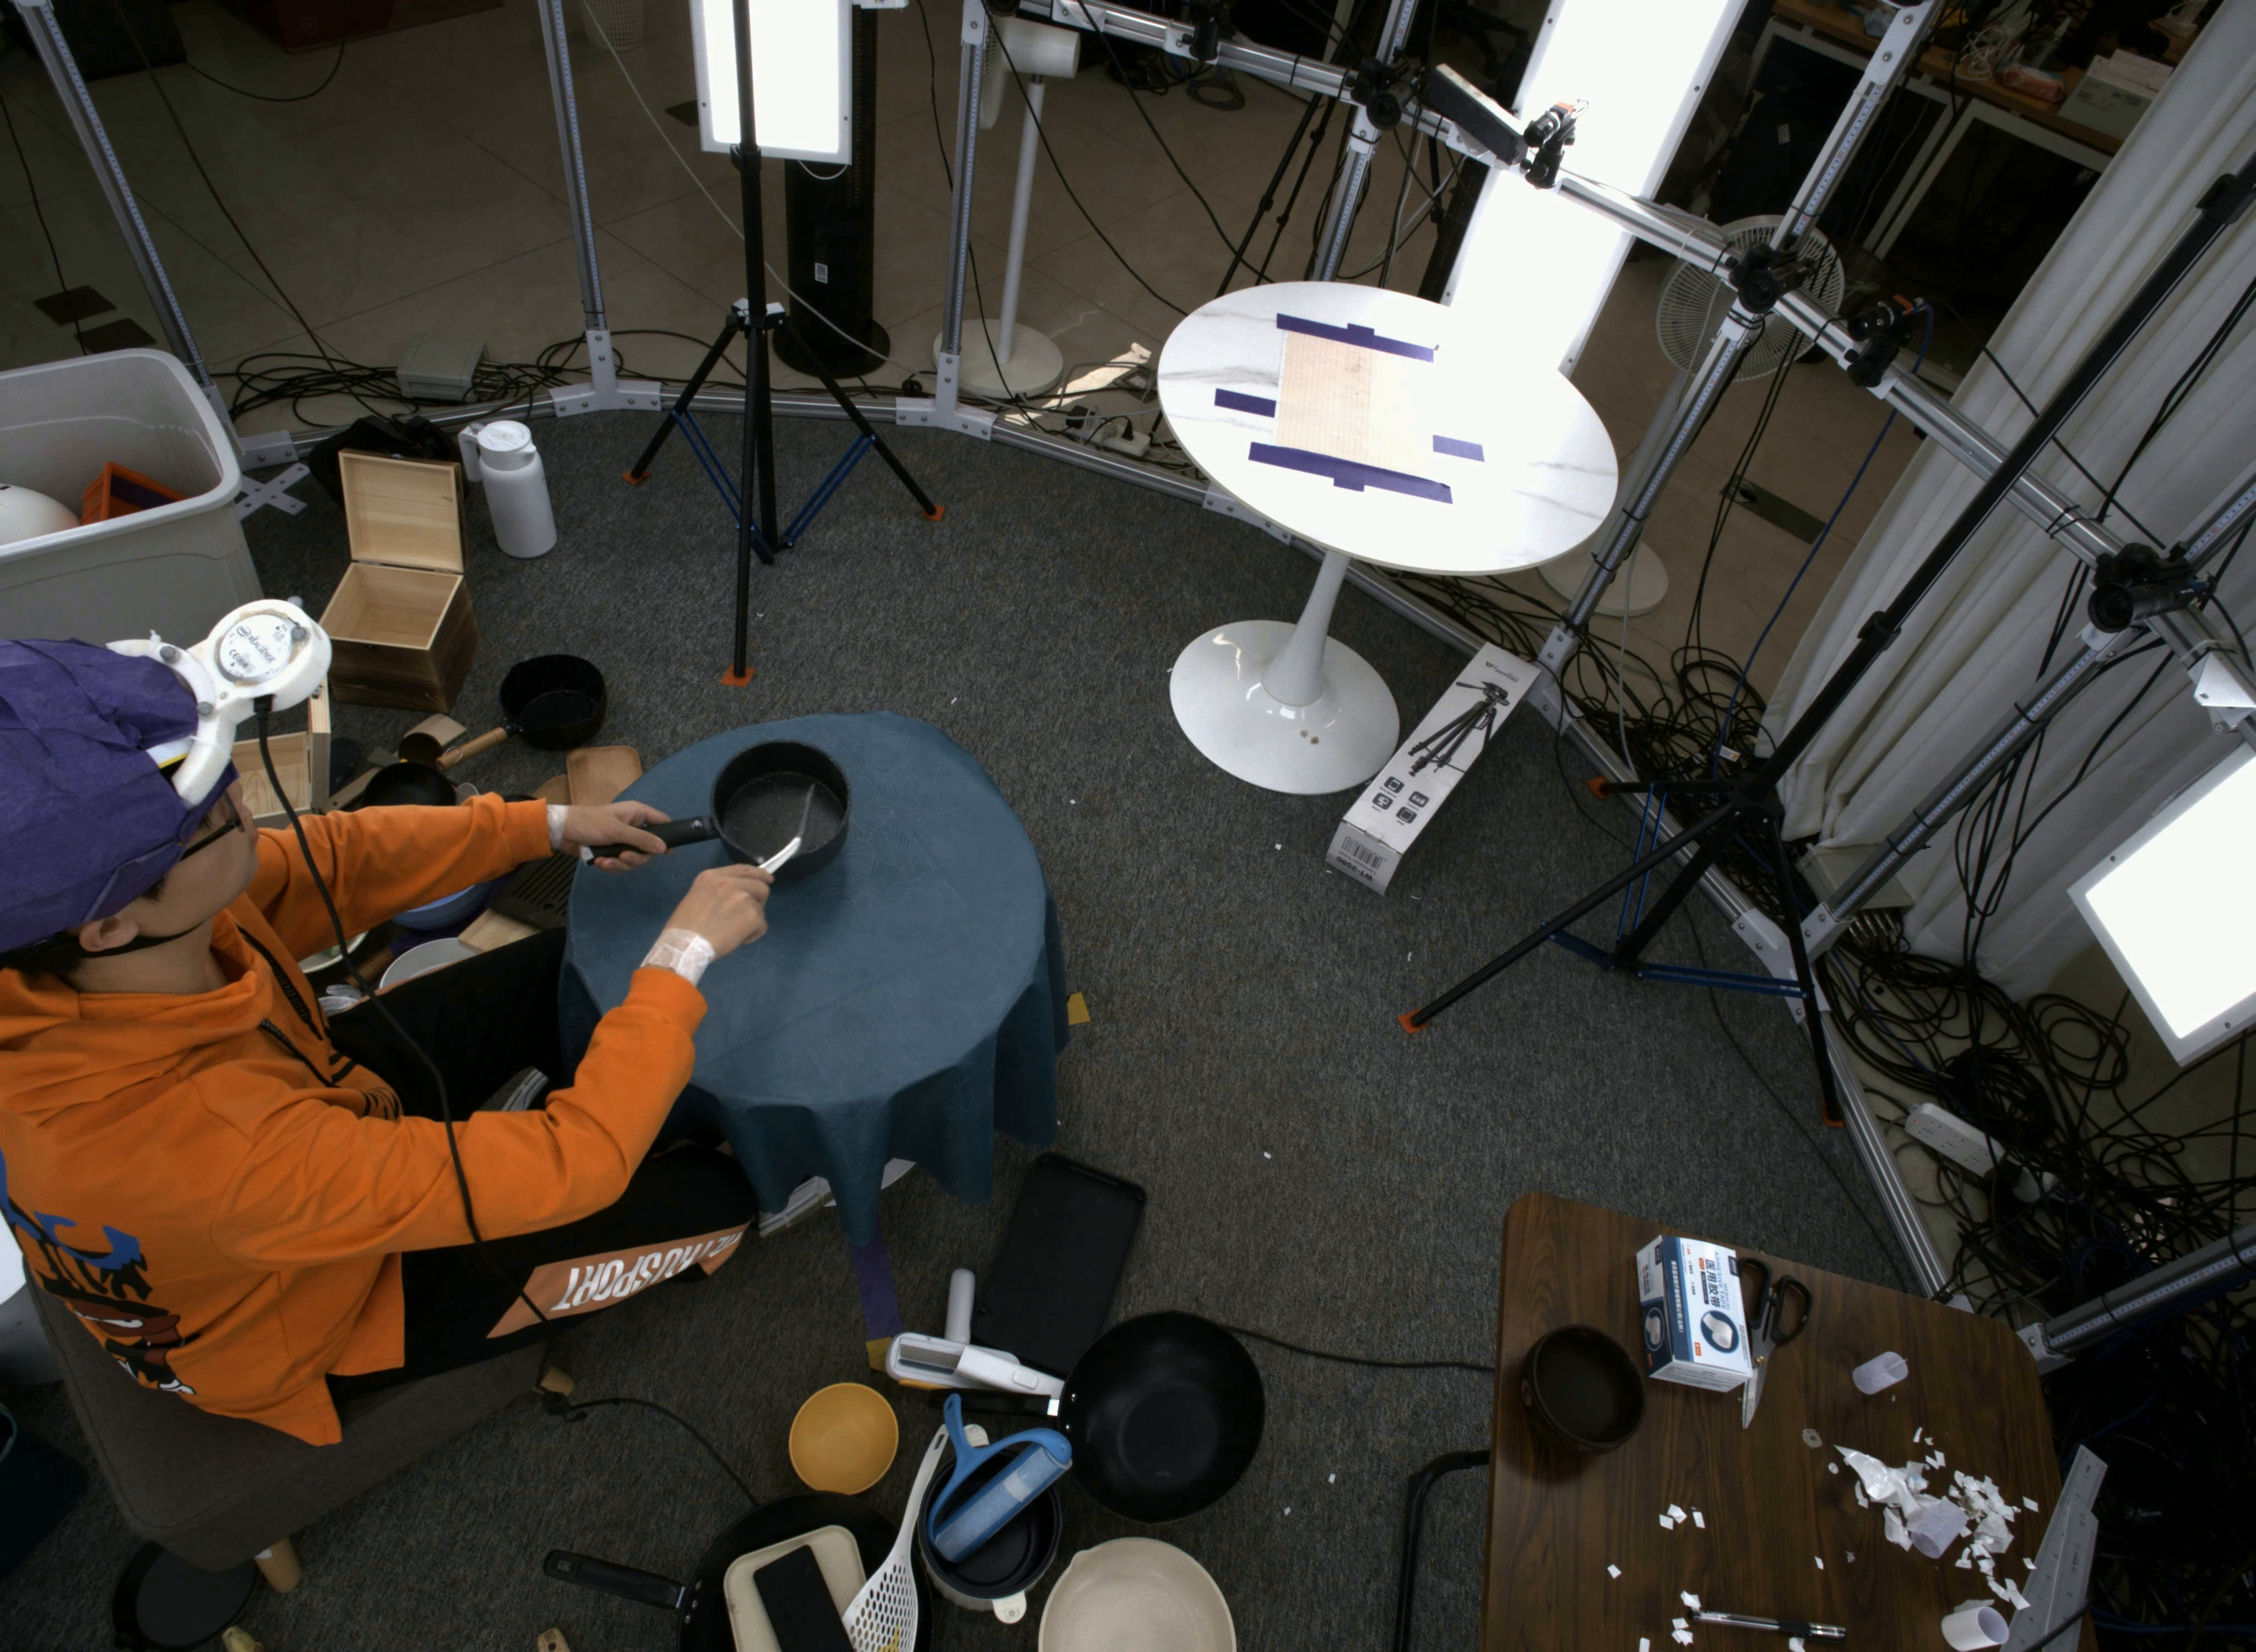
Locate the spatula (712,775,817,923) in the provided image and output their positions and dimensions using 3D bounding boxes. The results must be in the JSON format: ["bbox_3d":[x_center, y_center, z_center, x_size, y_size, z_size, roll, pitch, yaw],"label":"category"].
[{"bbox_3d":[-0.402,0.024,1.484,0.032,0.060,0.283,12,28,3],"label":"spatula"}]

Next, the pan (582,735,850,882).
[{"bbox_3d":[-0.505,-0.002,1.586,0.330,0.087,0.169,-14,66,-21],"label":"pan"}]
